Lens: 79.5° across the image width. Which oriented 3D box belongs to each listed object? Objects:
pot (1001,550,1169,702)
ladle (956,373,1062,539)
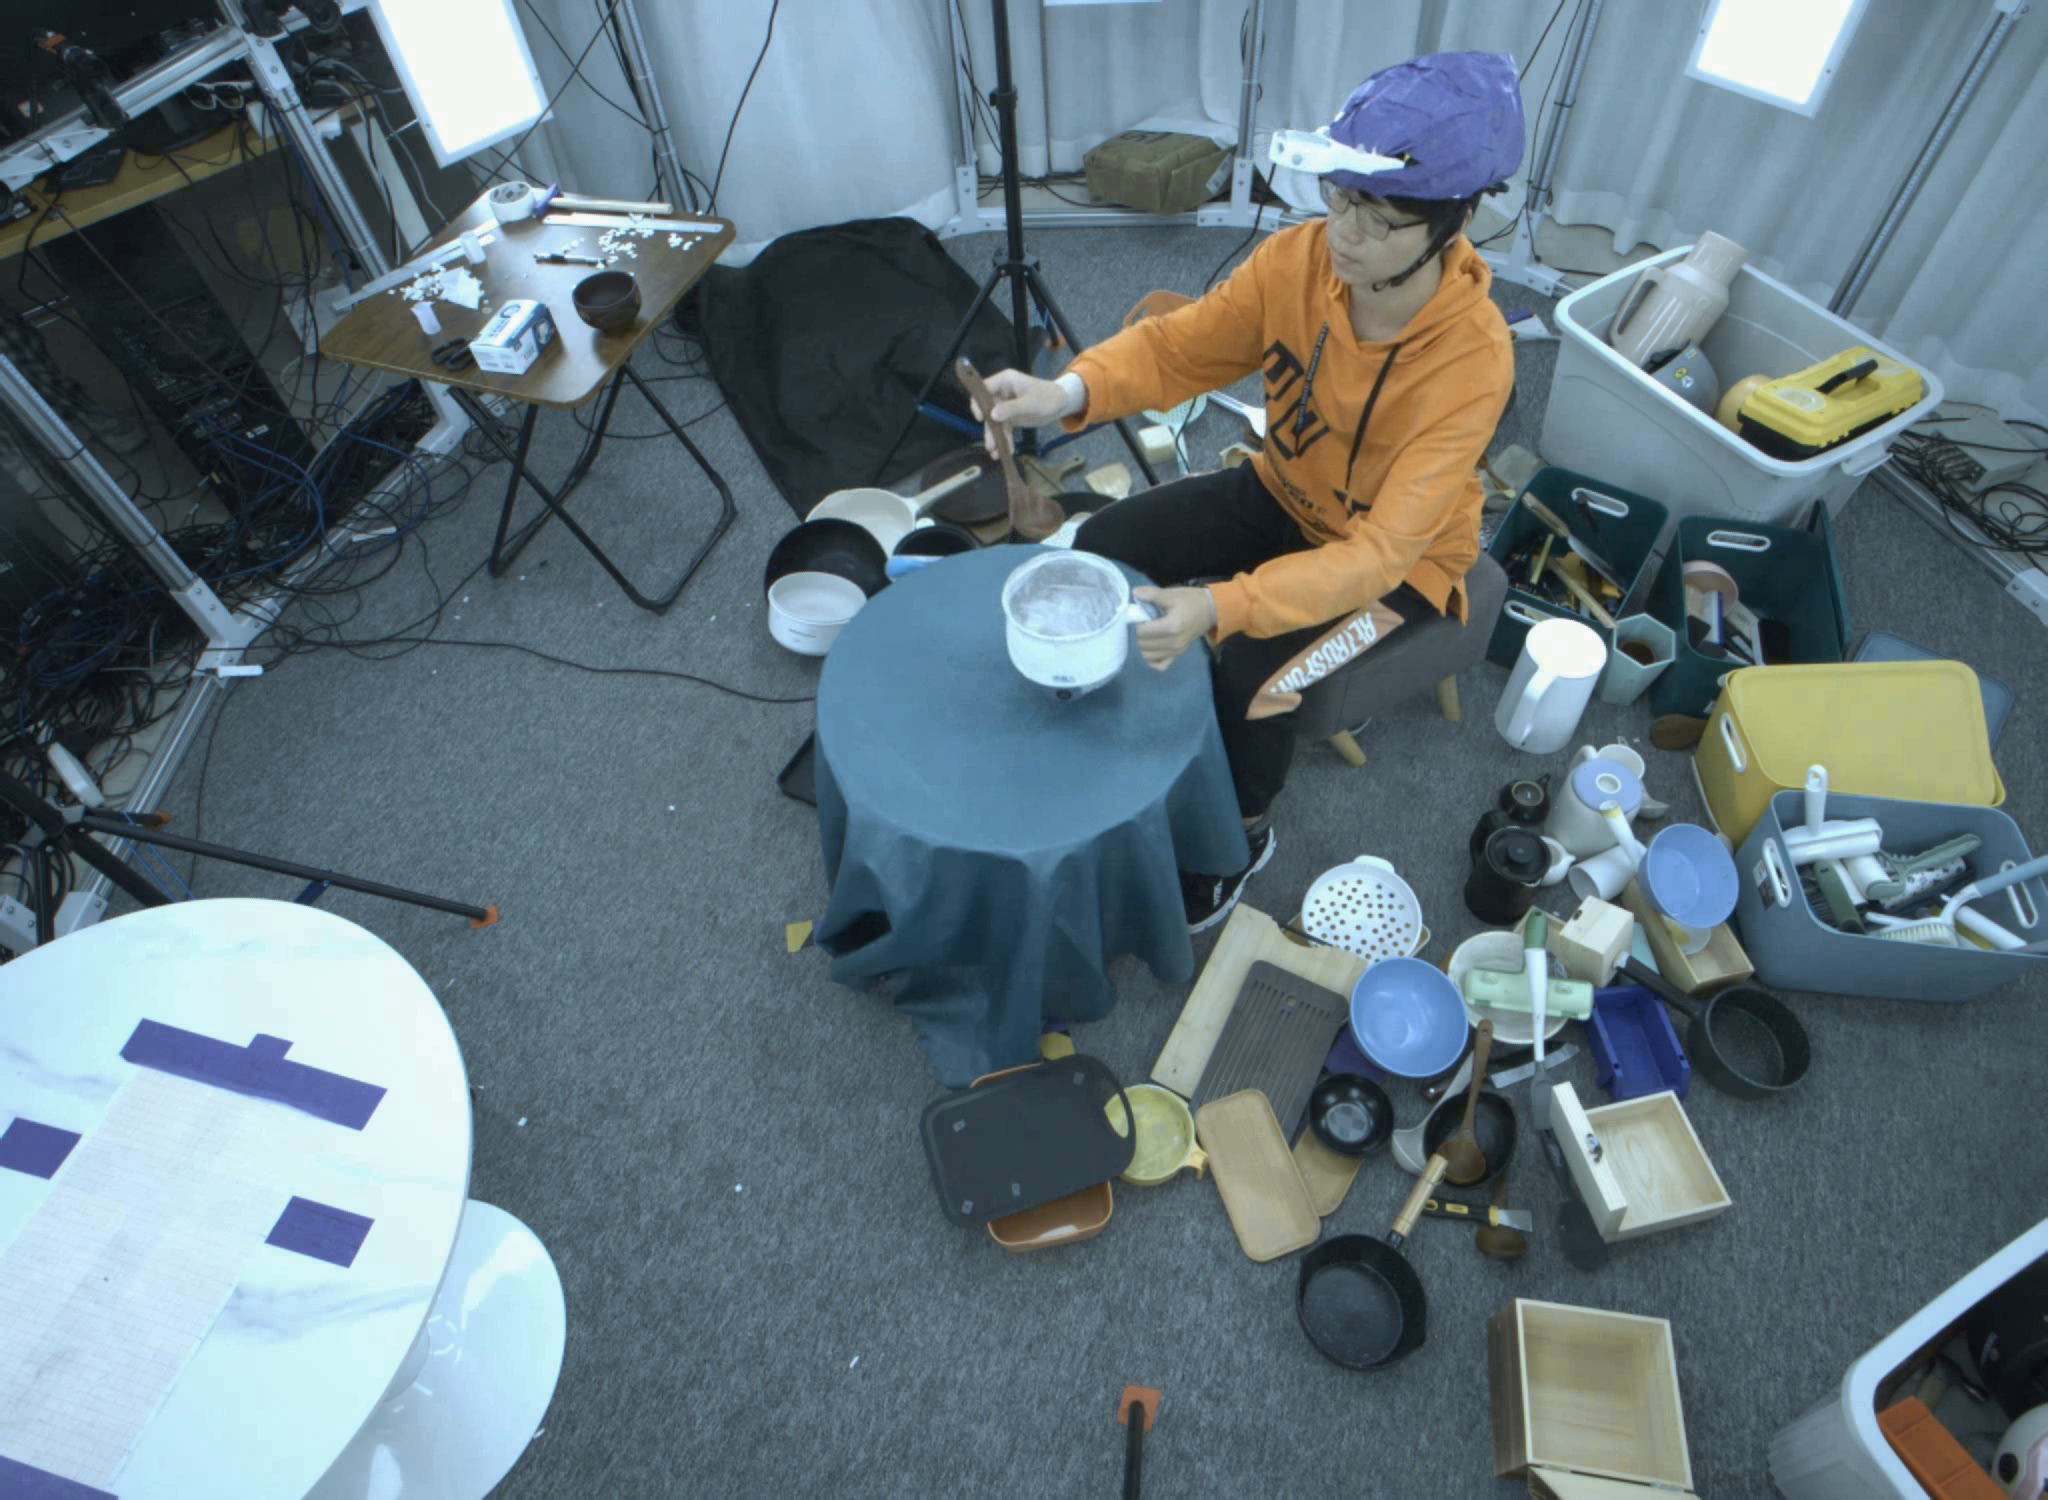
[{"bbox_3d":[0.088,-0.176,1.748,0.233,0.138,0.177,1,54,5],"label":"pot"},{"bbox_3d":[-0.026,-0.401,1.616,0.077,0.262,0.064,-31,15,-35],"label":"ladle"}]
